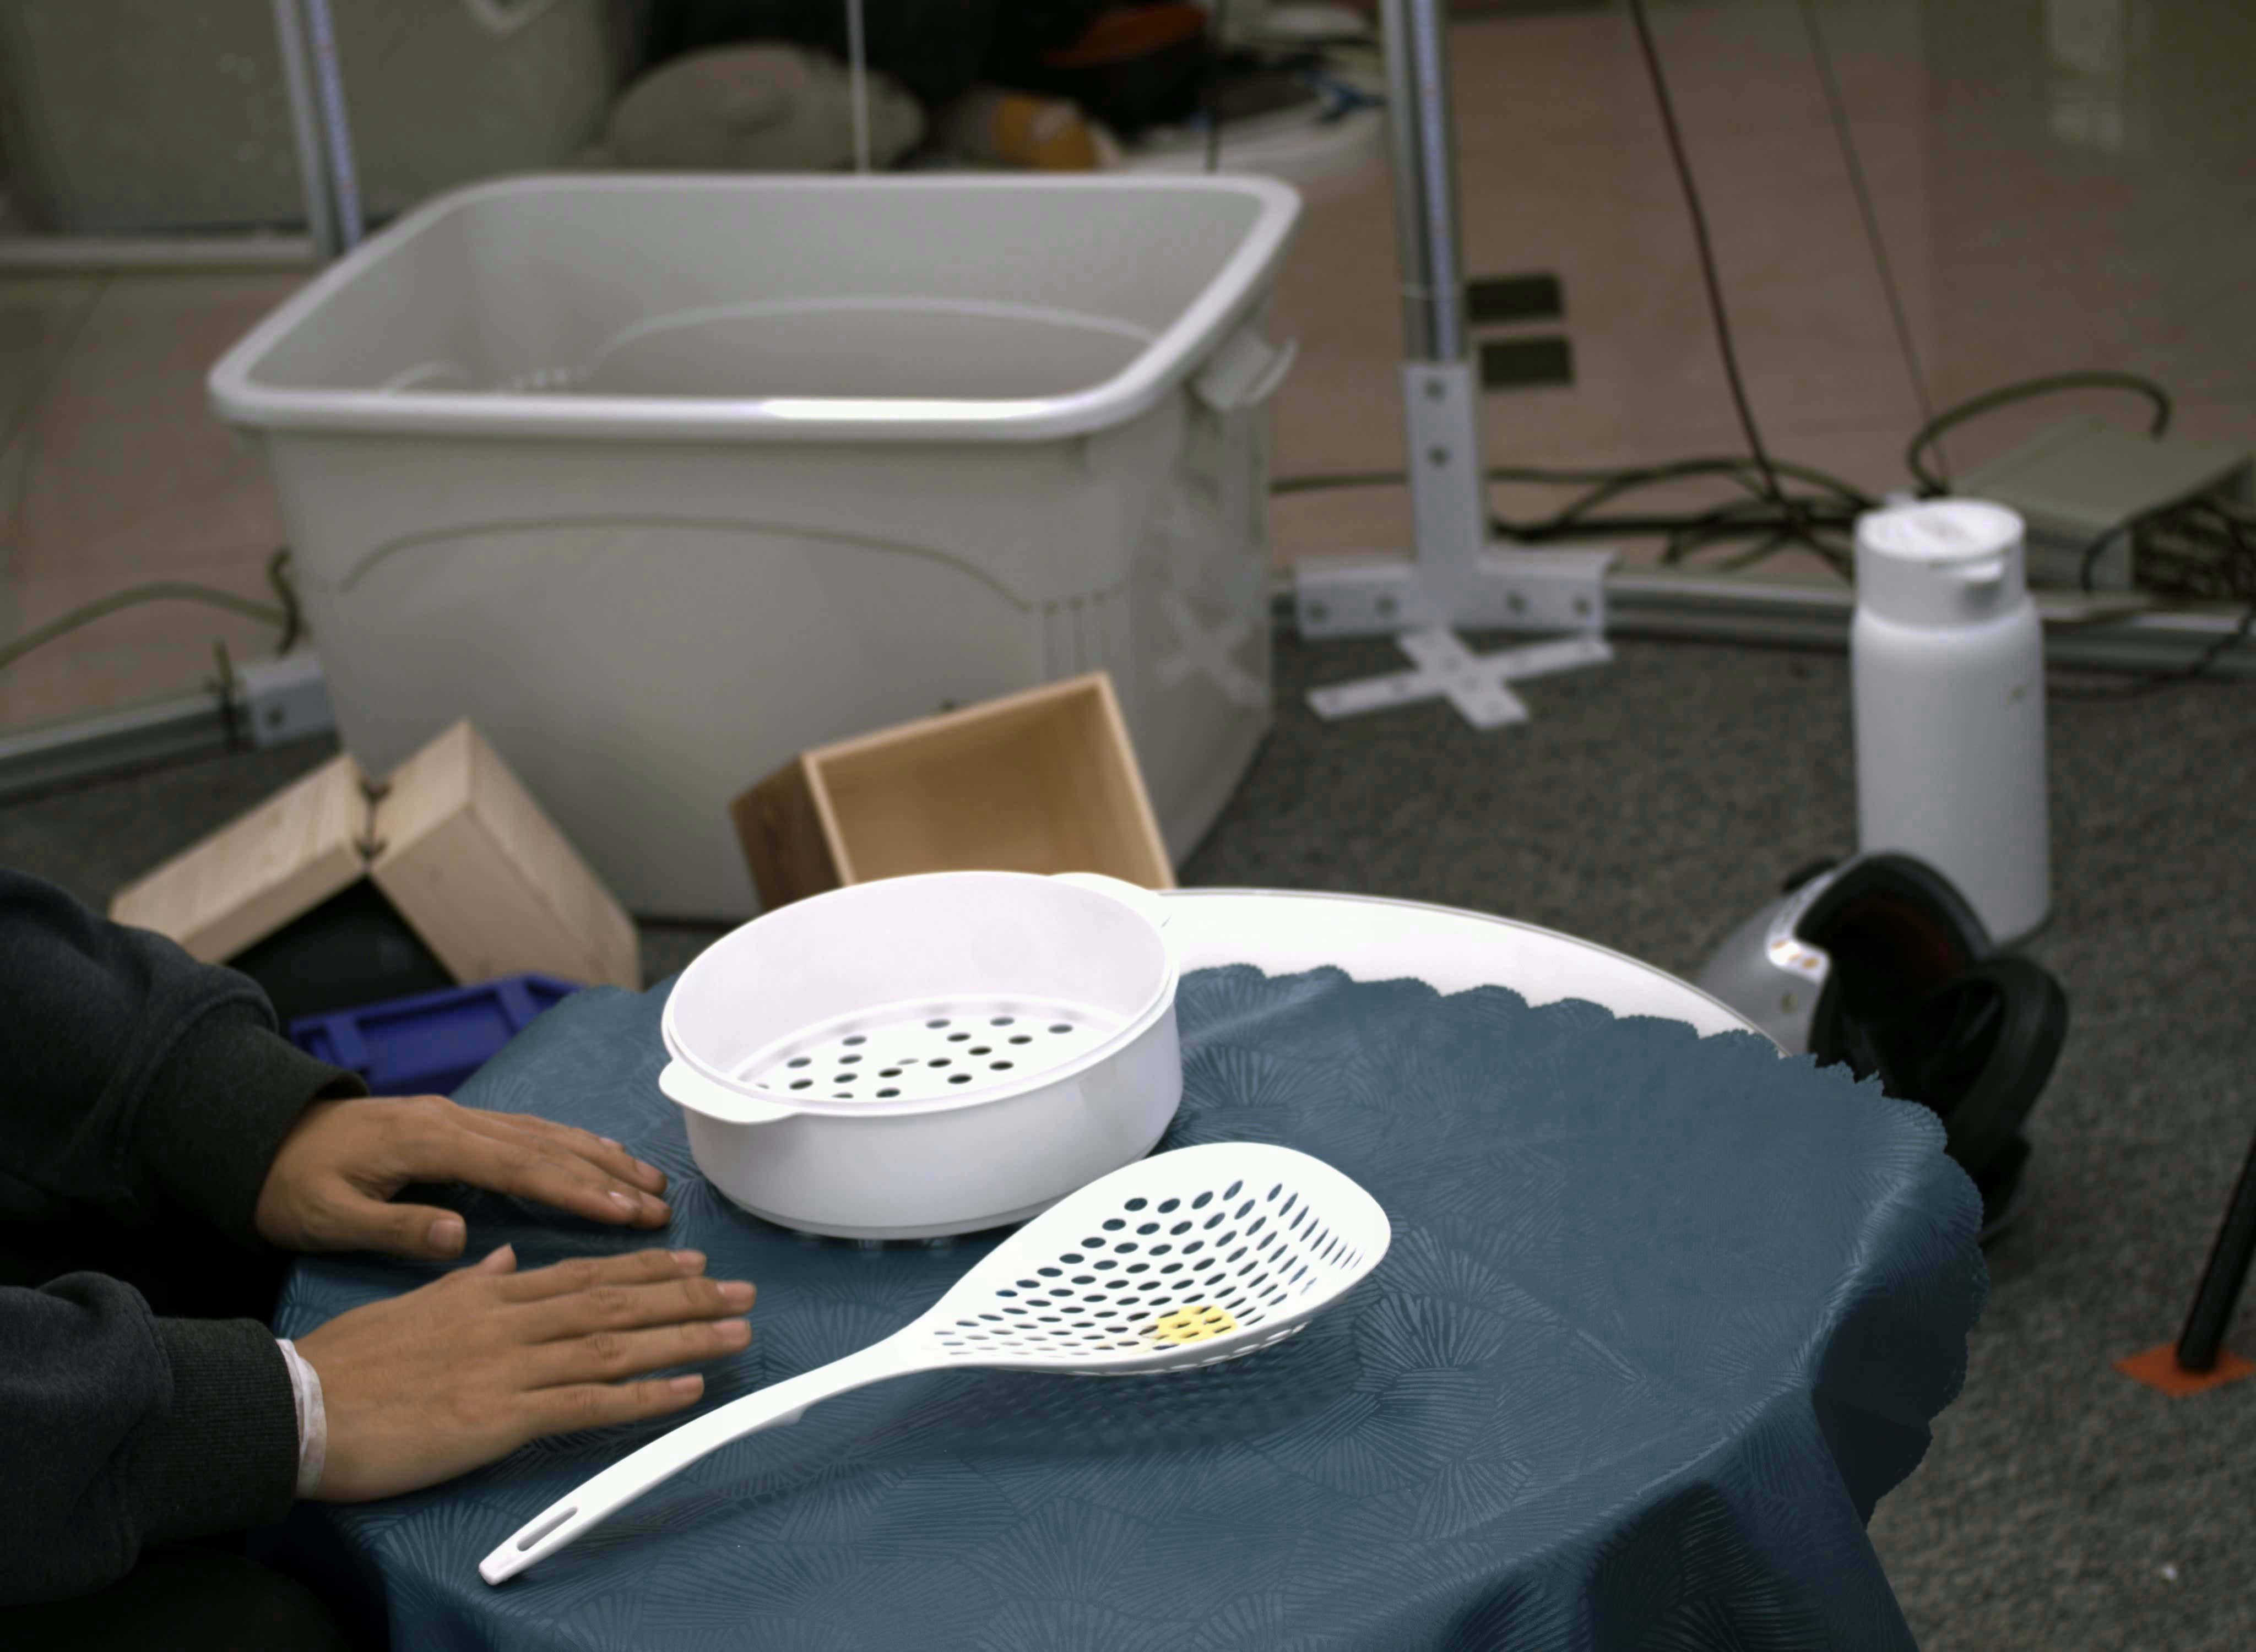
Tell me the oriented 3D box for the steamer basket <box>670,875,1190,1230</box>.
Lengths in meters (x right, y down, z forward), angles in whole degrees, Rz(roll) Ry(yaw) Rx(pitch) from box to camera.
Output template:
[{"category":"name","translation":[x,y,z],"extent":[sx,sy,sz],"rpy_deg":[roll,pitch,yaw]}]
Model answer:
[{"category":"steamer basket","translation":[-0.073,0.088,2.194],"extent":[0.229,0.070,0.200],"rpy_deg":[-25,30,-38]}]

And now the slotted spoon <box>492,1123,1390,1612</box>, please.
[{"category":"slotted spoon","translation":[-0.069,0.194,1.999],"extent":[0.346,0.051,0.135],"rpy_deg":[-18,30,-22]}]
